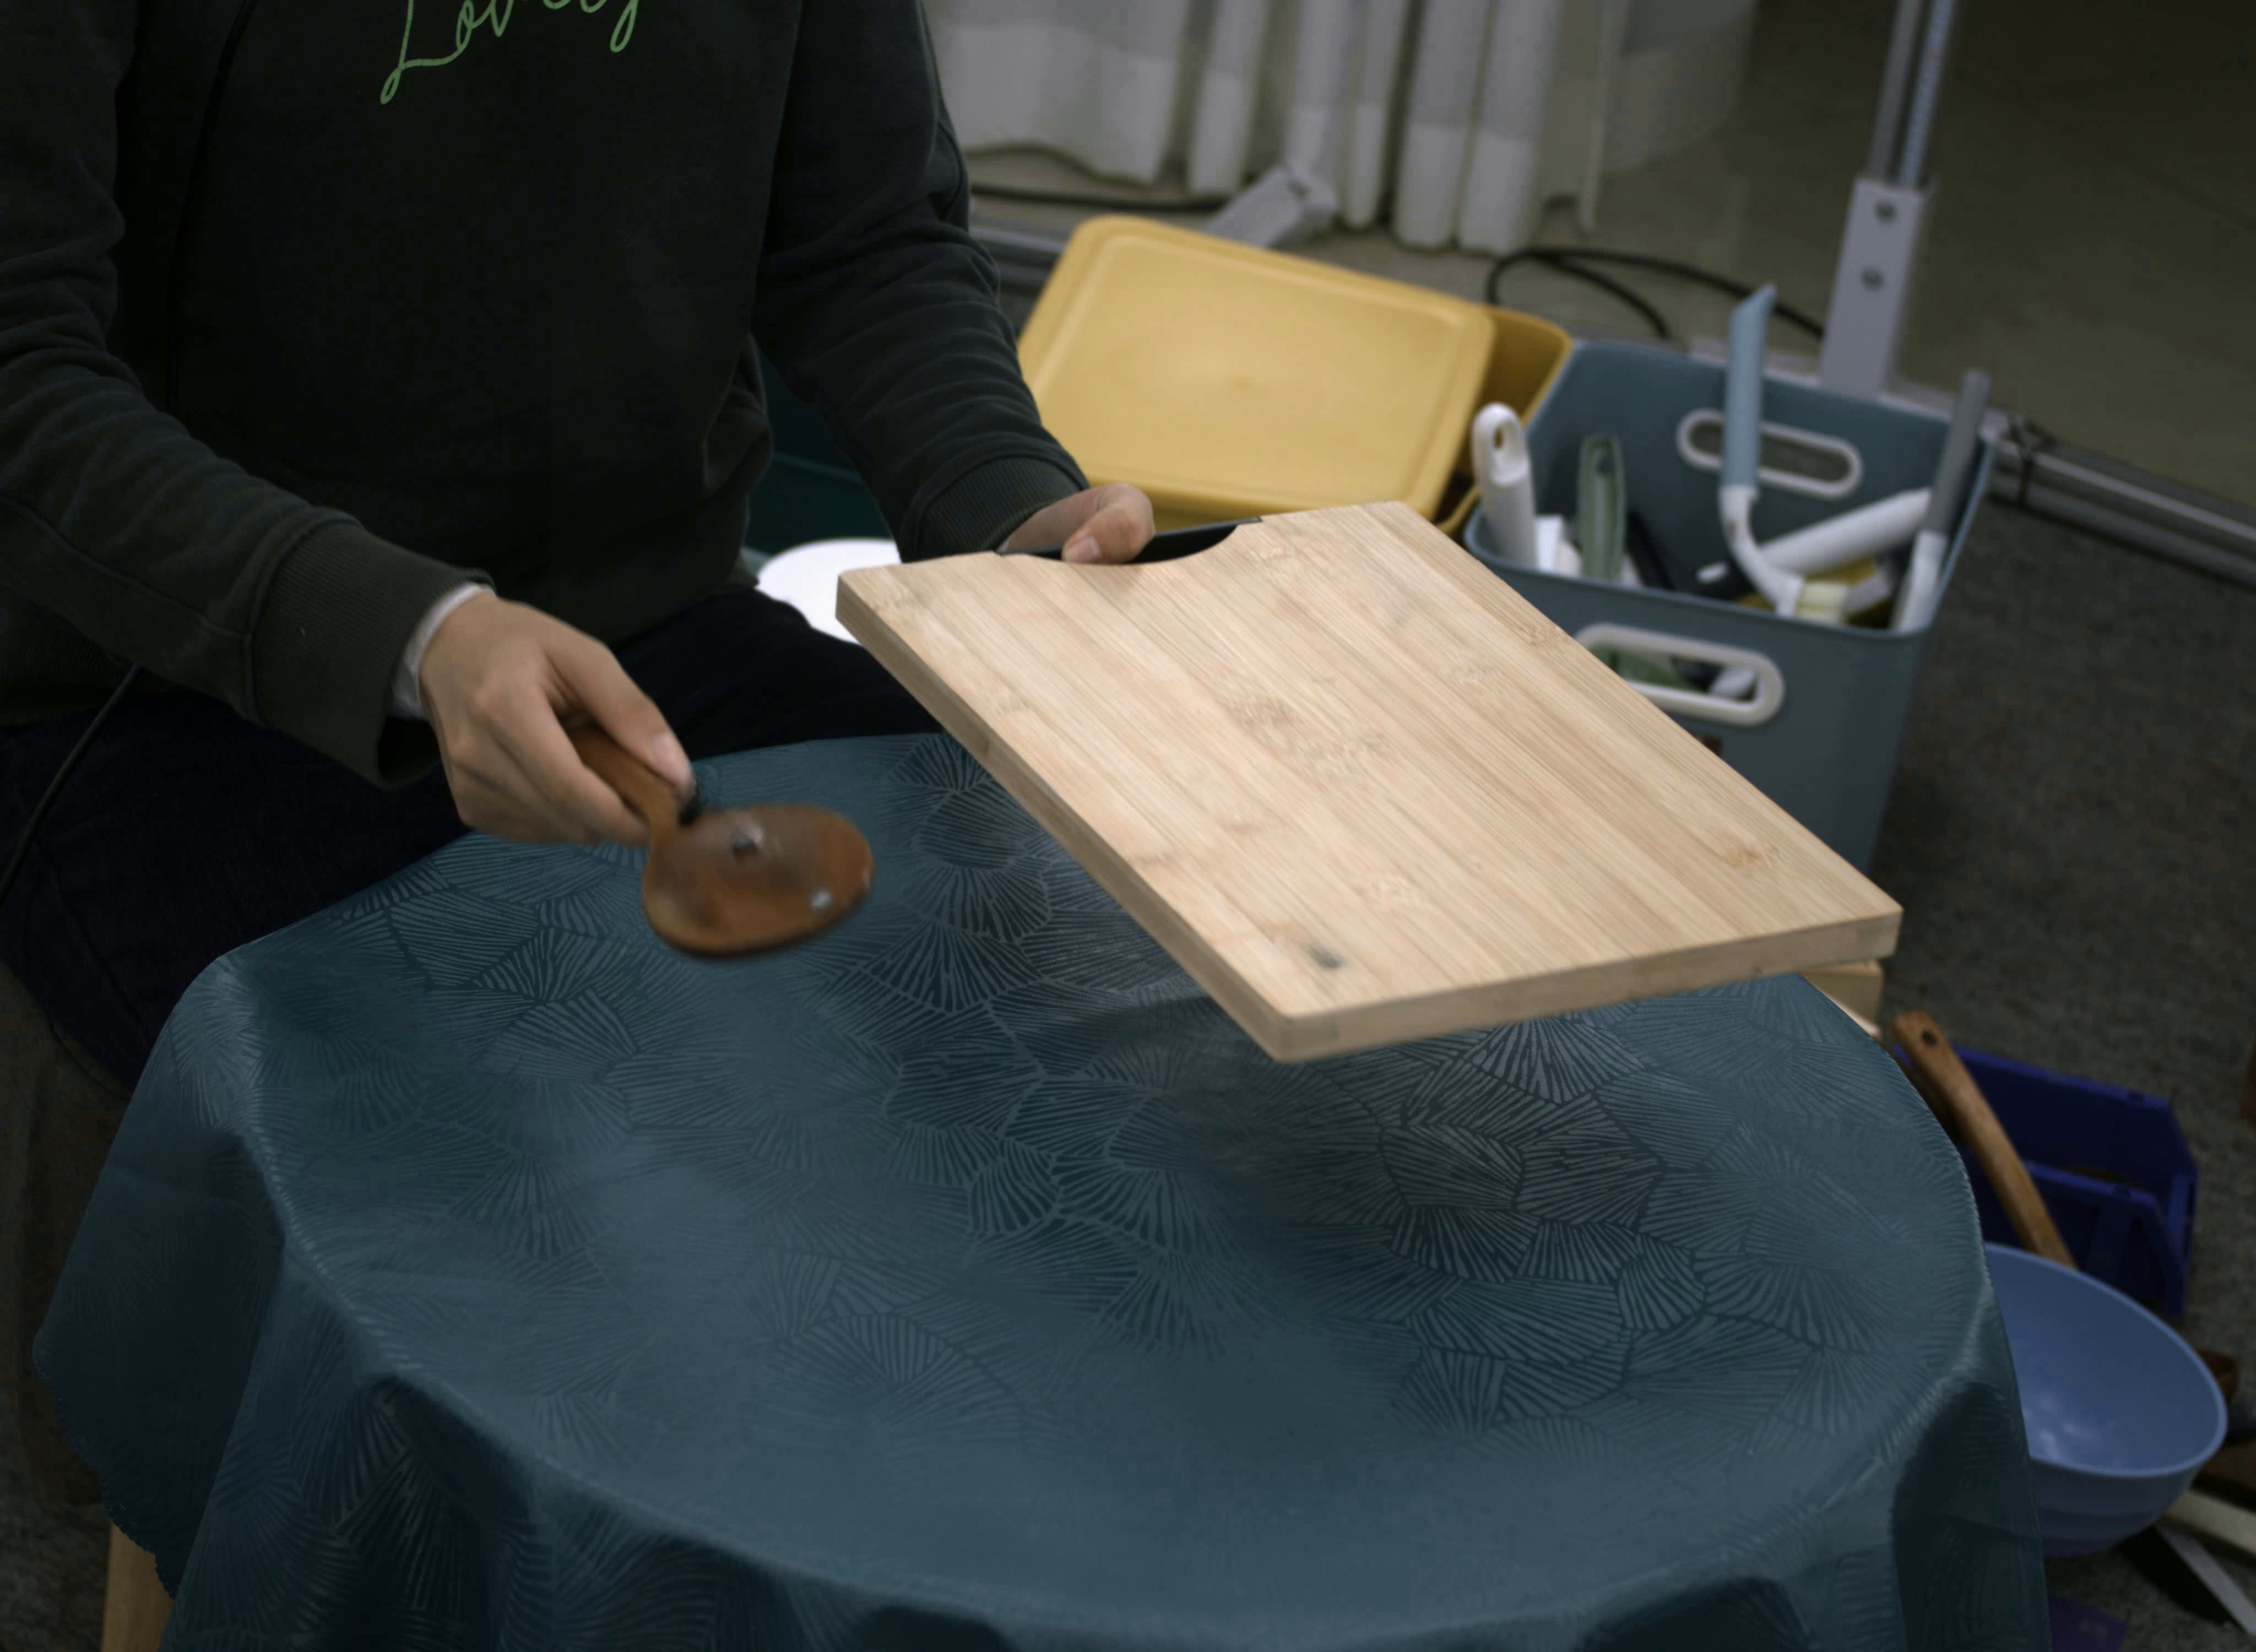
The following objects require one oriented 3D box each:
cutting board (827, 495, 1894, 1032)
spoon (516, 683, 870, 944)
[{"bbox_3d":[0.072,-0.029,1.859,0.249,0.023,0.352,-8,30,-27],"label":"cutting board"},{"bbox_3d":[-0.149,-0.007,1.743,0.075,0.017,0.217,-32,32,-17],"label":"spoon"}]
